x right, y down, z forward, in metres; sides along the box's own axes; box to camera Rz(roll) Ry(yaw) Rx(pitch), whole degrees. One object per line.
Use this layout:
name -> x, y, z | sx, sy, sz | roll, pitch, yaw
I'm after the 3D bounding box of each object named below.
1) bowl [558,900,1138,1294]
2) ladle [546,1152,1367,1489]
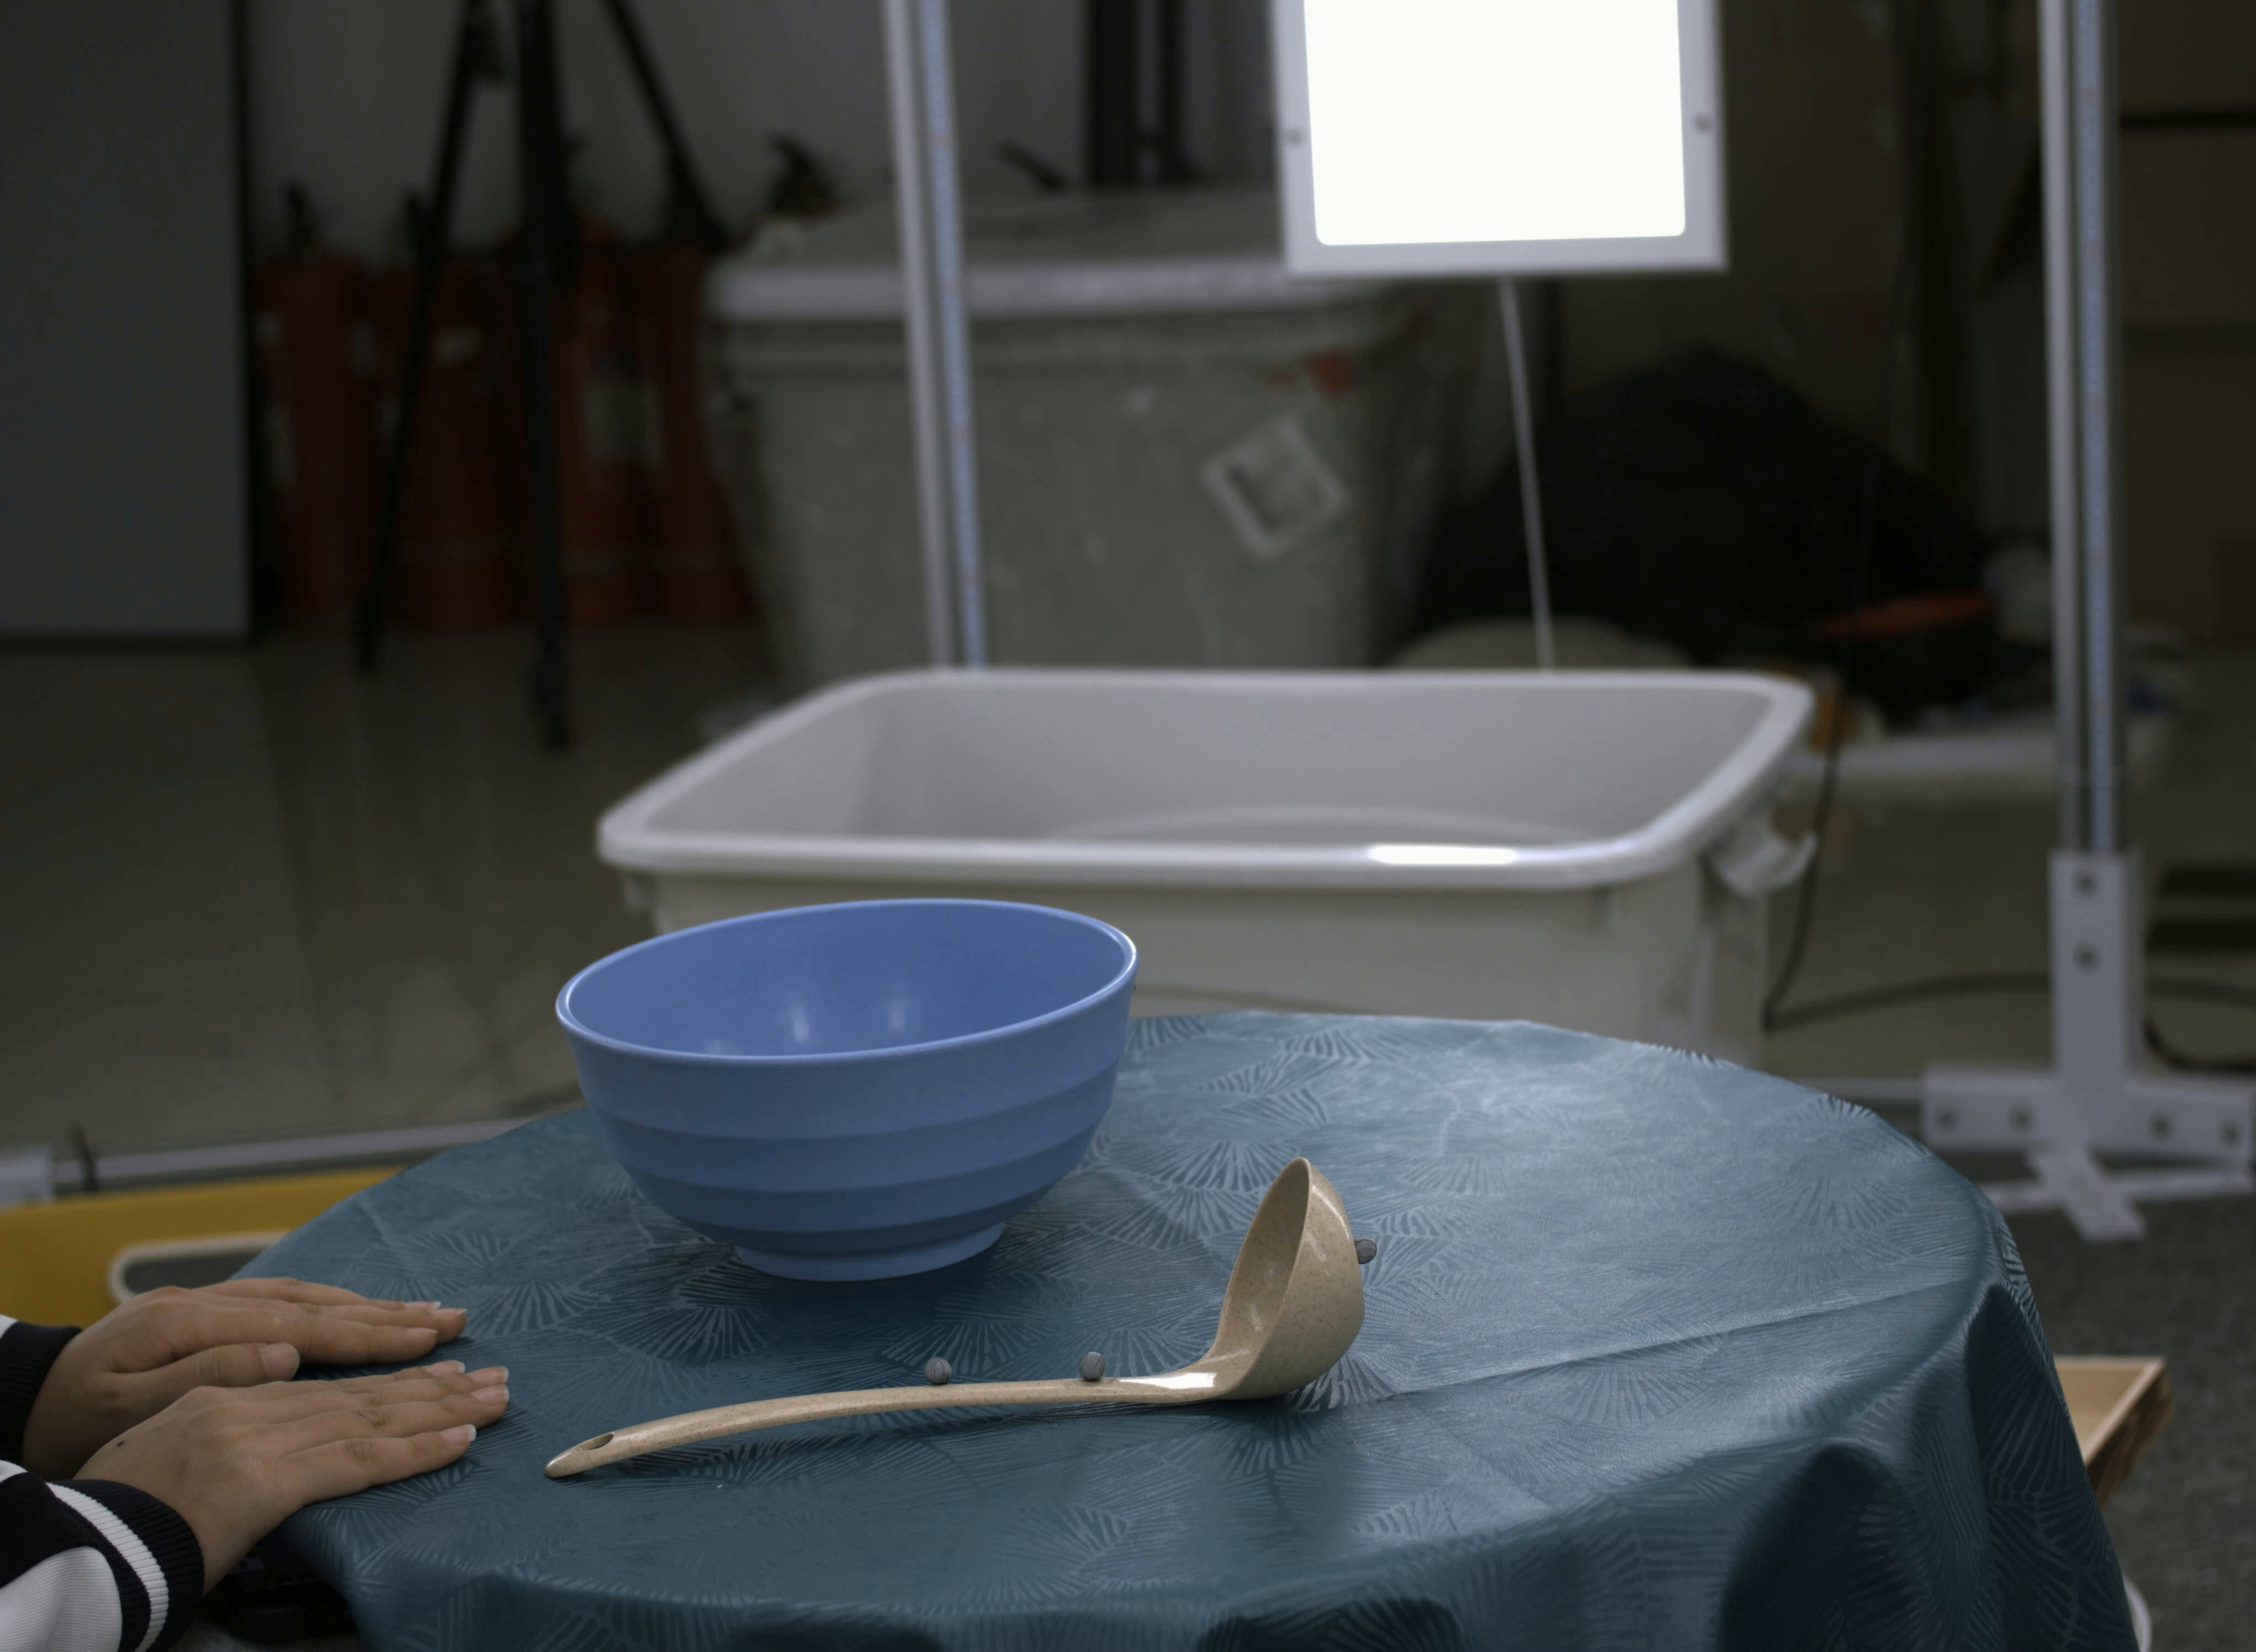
bowl -> -0.091, 0.098, 1.863 | 0.196, 0.096, 0.196 | -5, 15, 0
ladle -> -0.054, 0.149, 1.673 | 0.252, 0.073, 0.072 | -7, 13, -6
